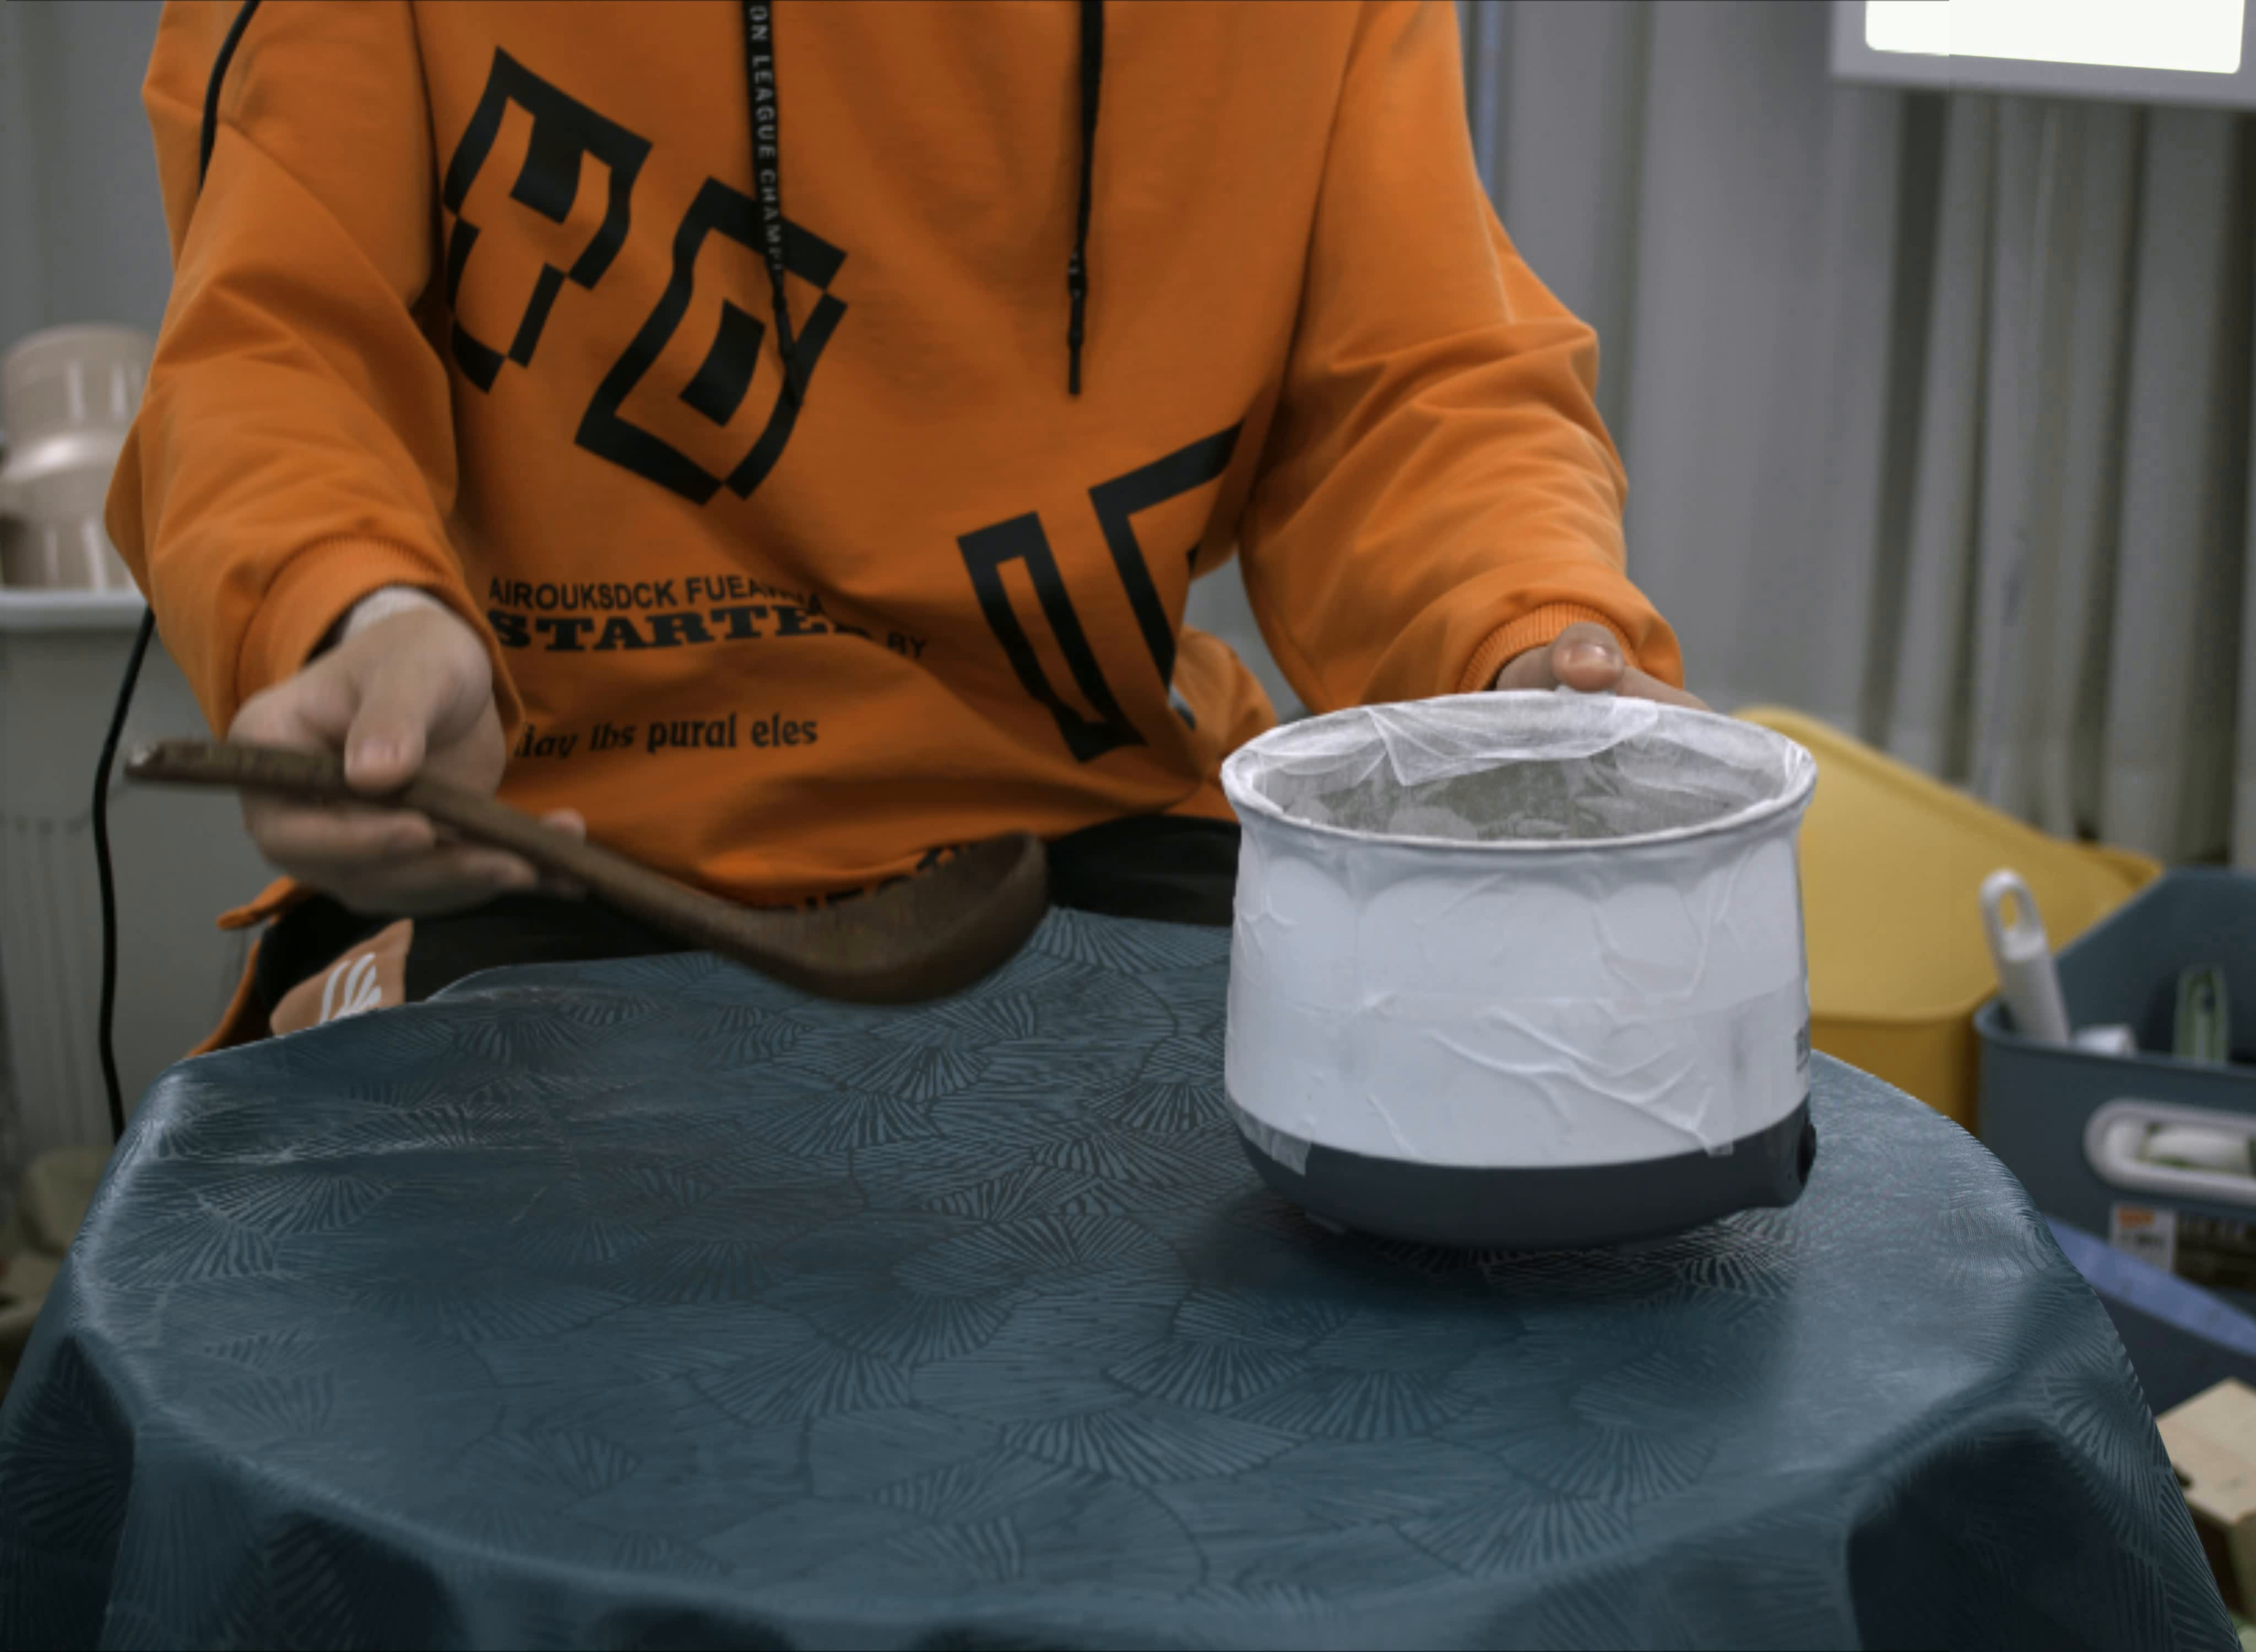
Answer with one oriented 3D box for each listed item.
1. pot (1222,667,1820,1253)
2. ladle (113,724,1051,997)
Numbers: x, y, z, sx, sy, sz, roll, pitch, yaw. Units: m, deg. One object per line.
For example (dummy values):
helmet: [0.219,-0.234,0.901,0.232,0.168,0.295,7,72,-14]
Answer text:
pot: [0.124,0.035,1.602,0.177,0.138,0.233,3,16,13]
ladle: [-0.159,-0.011,1.549,0.274,0.072,0.075,19,17,-3]
